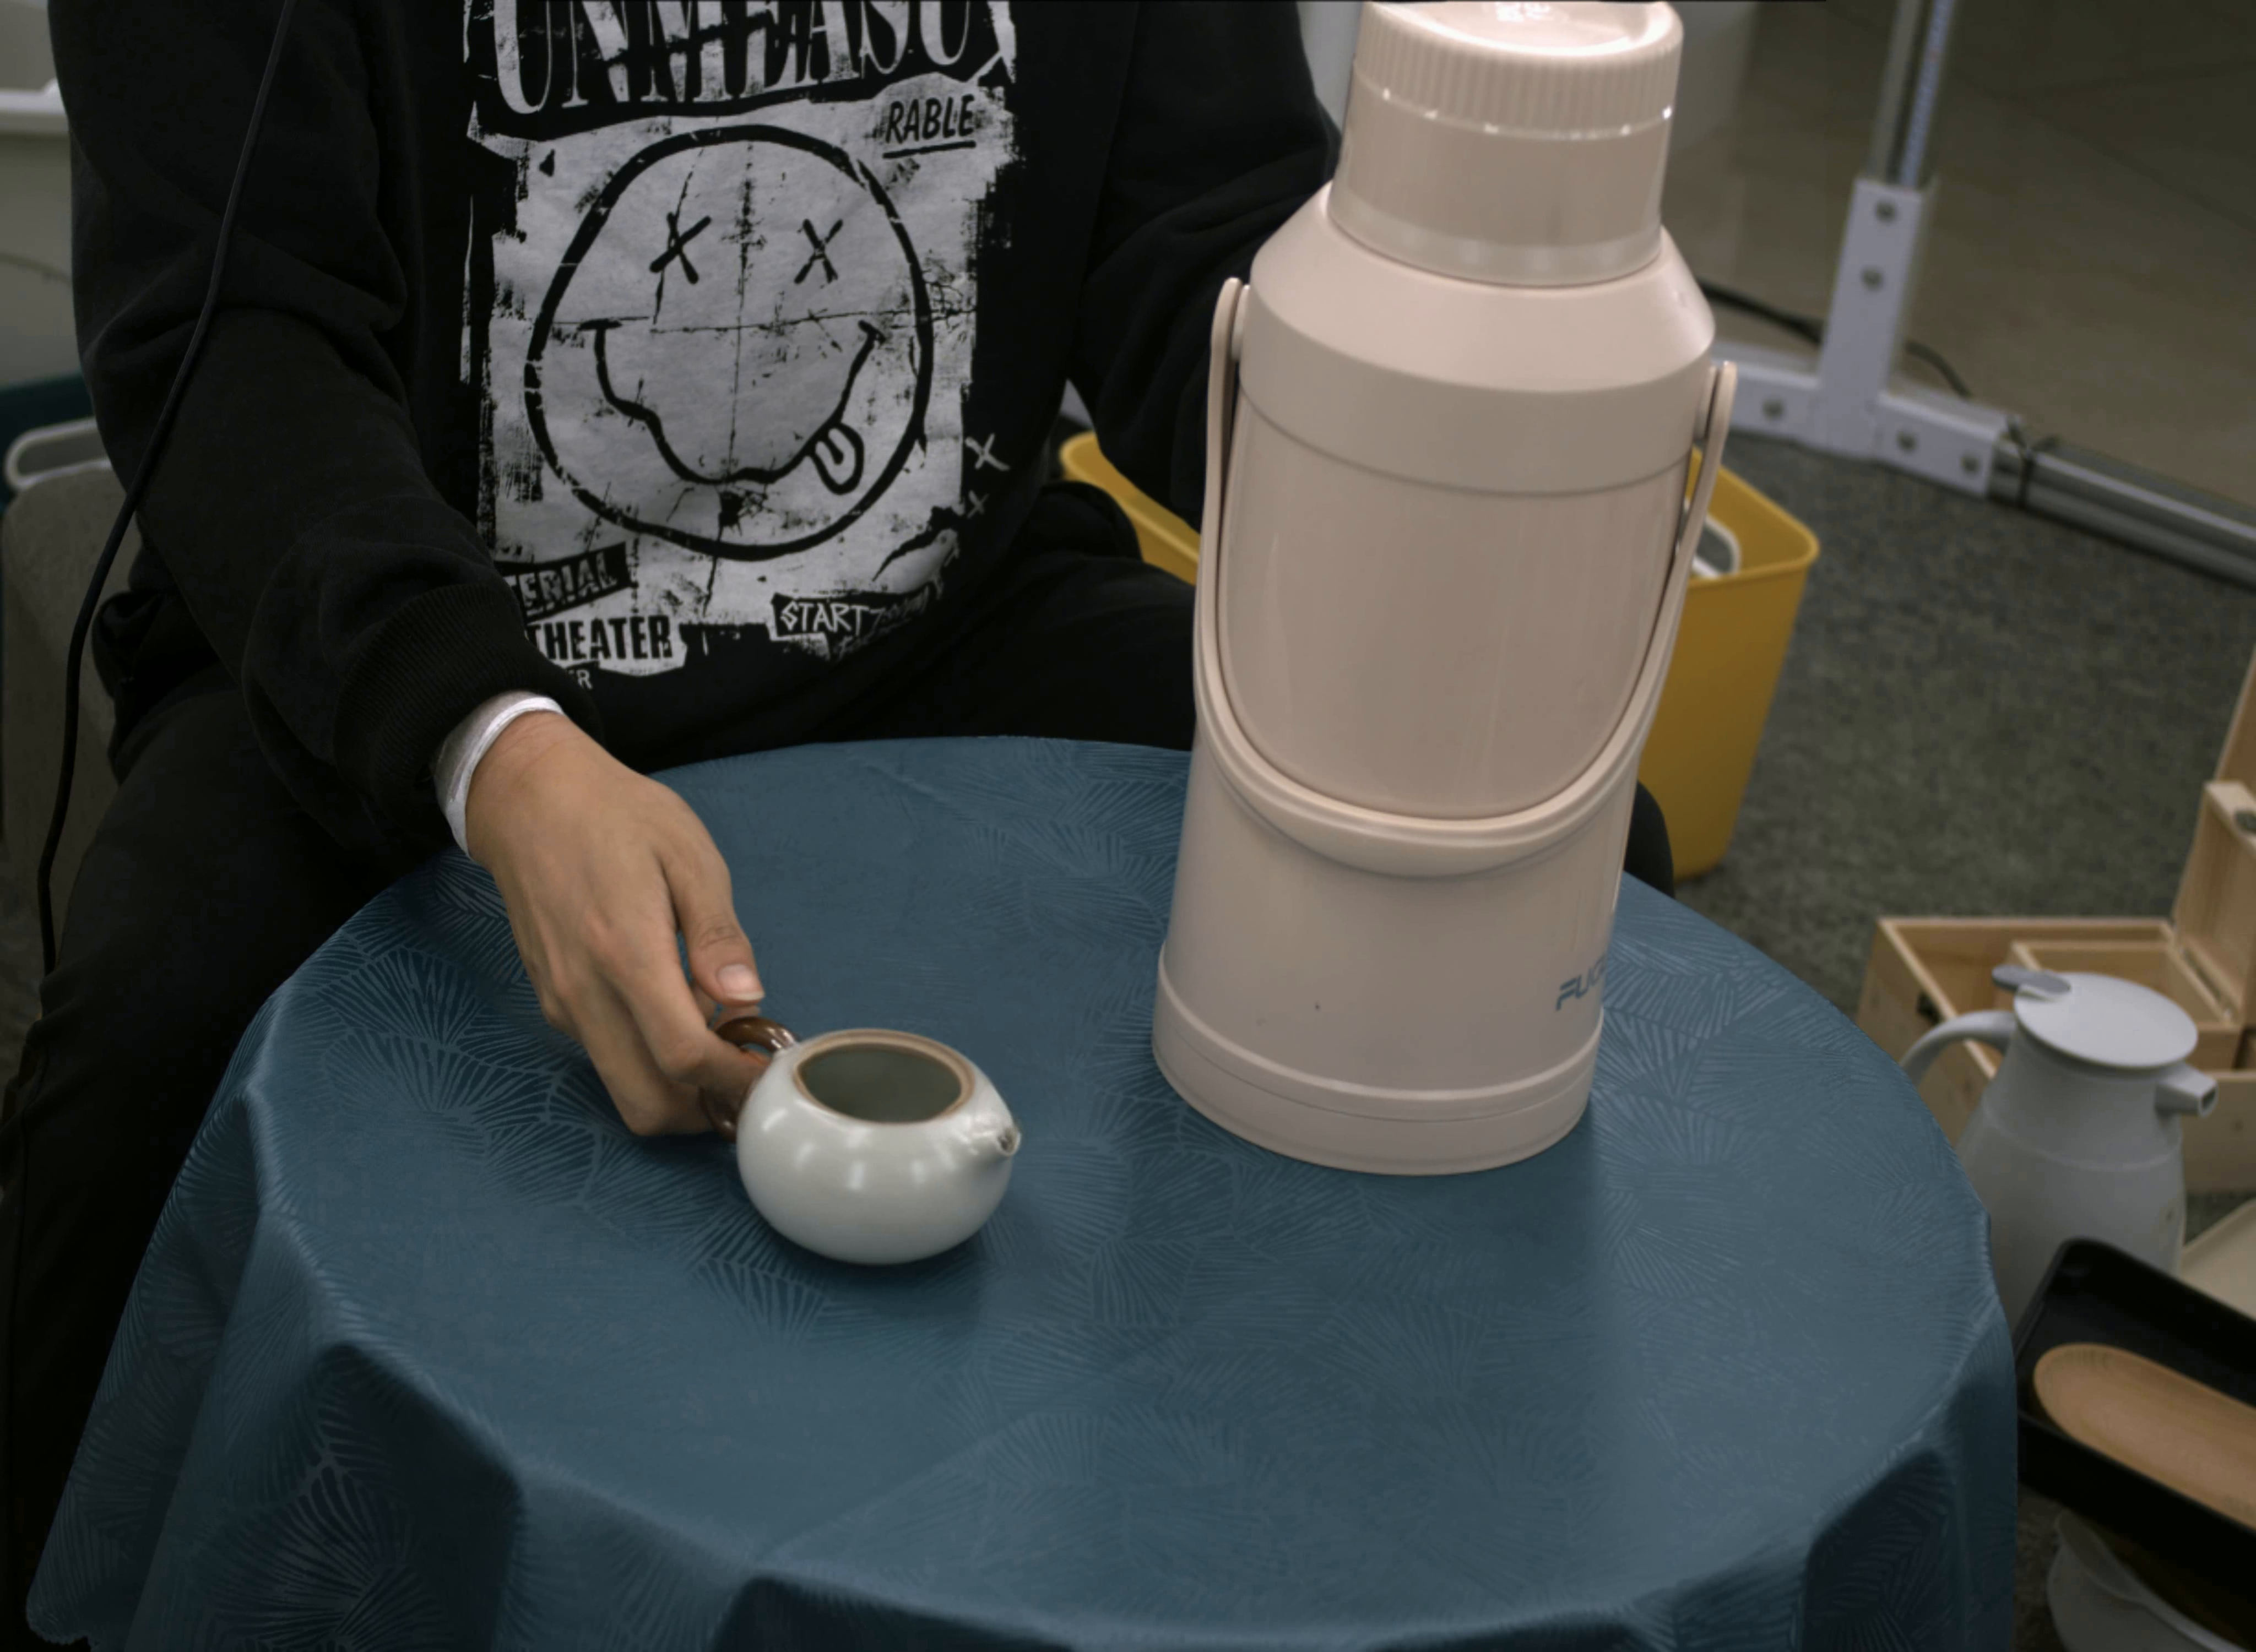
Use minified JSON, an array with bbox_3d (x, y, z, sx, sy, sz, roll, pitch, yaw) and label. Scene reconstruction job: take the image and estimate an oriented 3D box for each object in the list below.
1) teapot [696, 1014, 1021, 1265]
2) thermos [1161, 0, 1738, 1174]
[{"bbox_3d":[-0.091,0.103,1.762,0.129,0.059,0.091,23,34,26],"label":"teapot"},{"bbox_3d":[0.112,-0.097,1.827,0.175,0.405,0.208,8,27,7],"label":"thermos"}]
